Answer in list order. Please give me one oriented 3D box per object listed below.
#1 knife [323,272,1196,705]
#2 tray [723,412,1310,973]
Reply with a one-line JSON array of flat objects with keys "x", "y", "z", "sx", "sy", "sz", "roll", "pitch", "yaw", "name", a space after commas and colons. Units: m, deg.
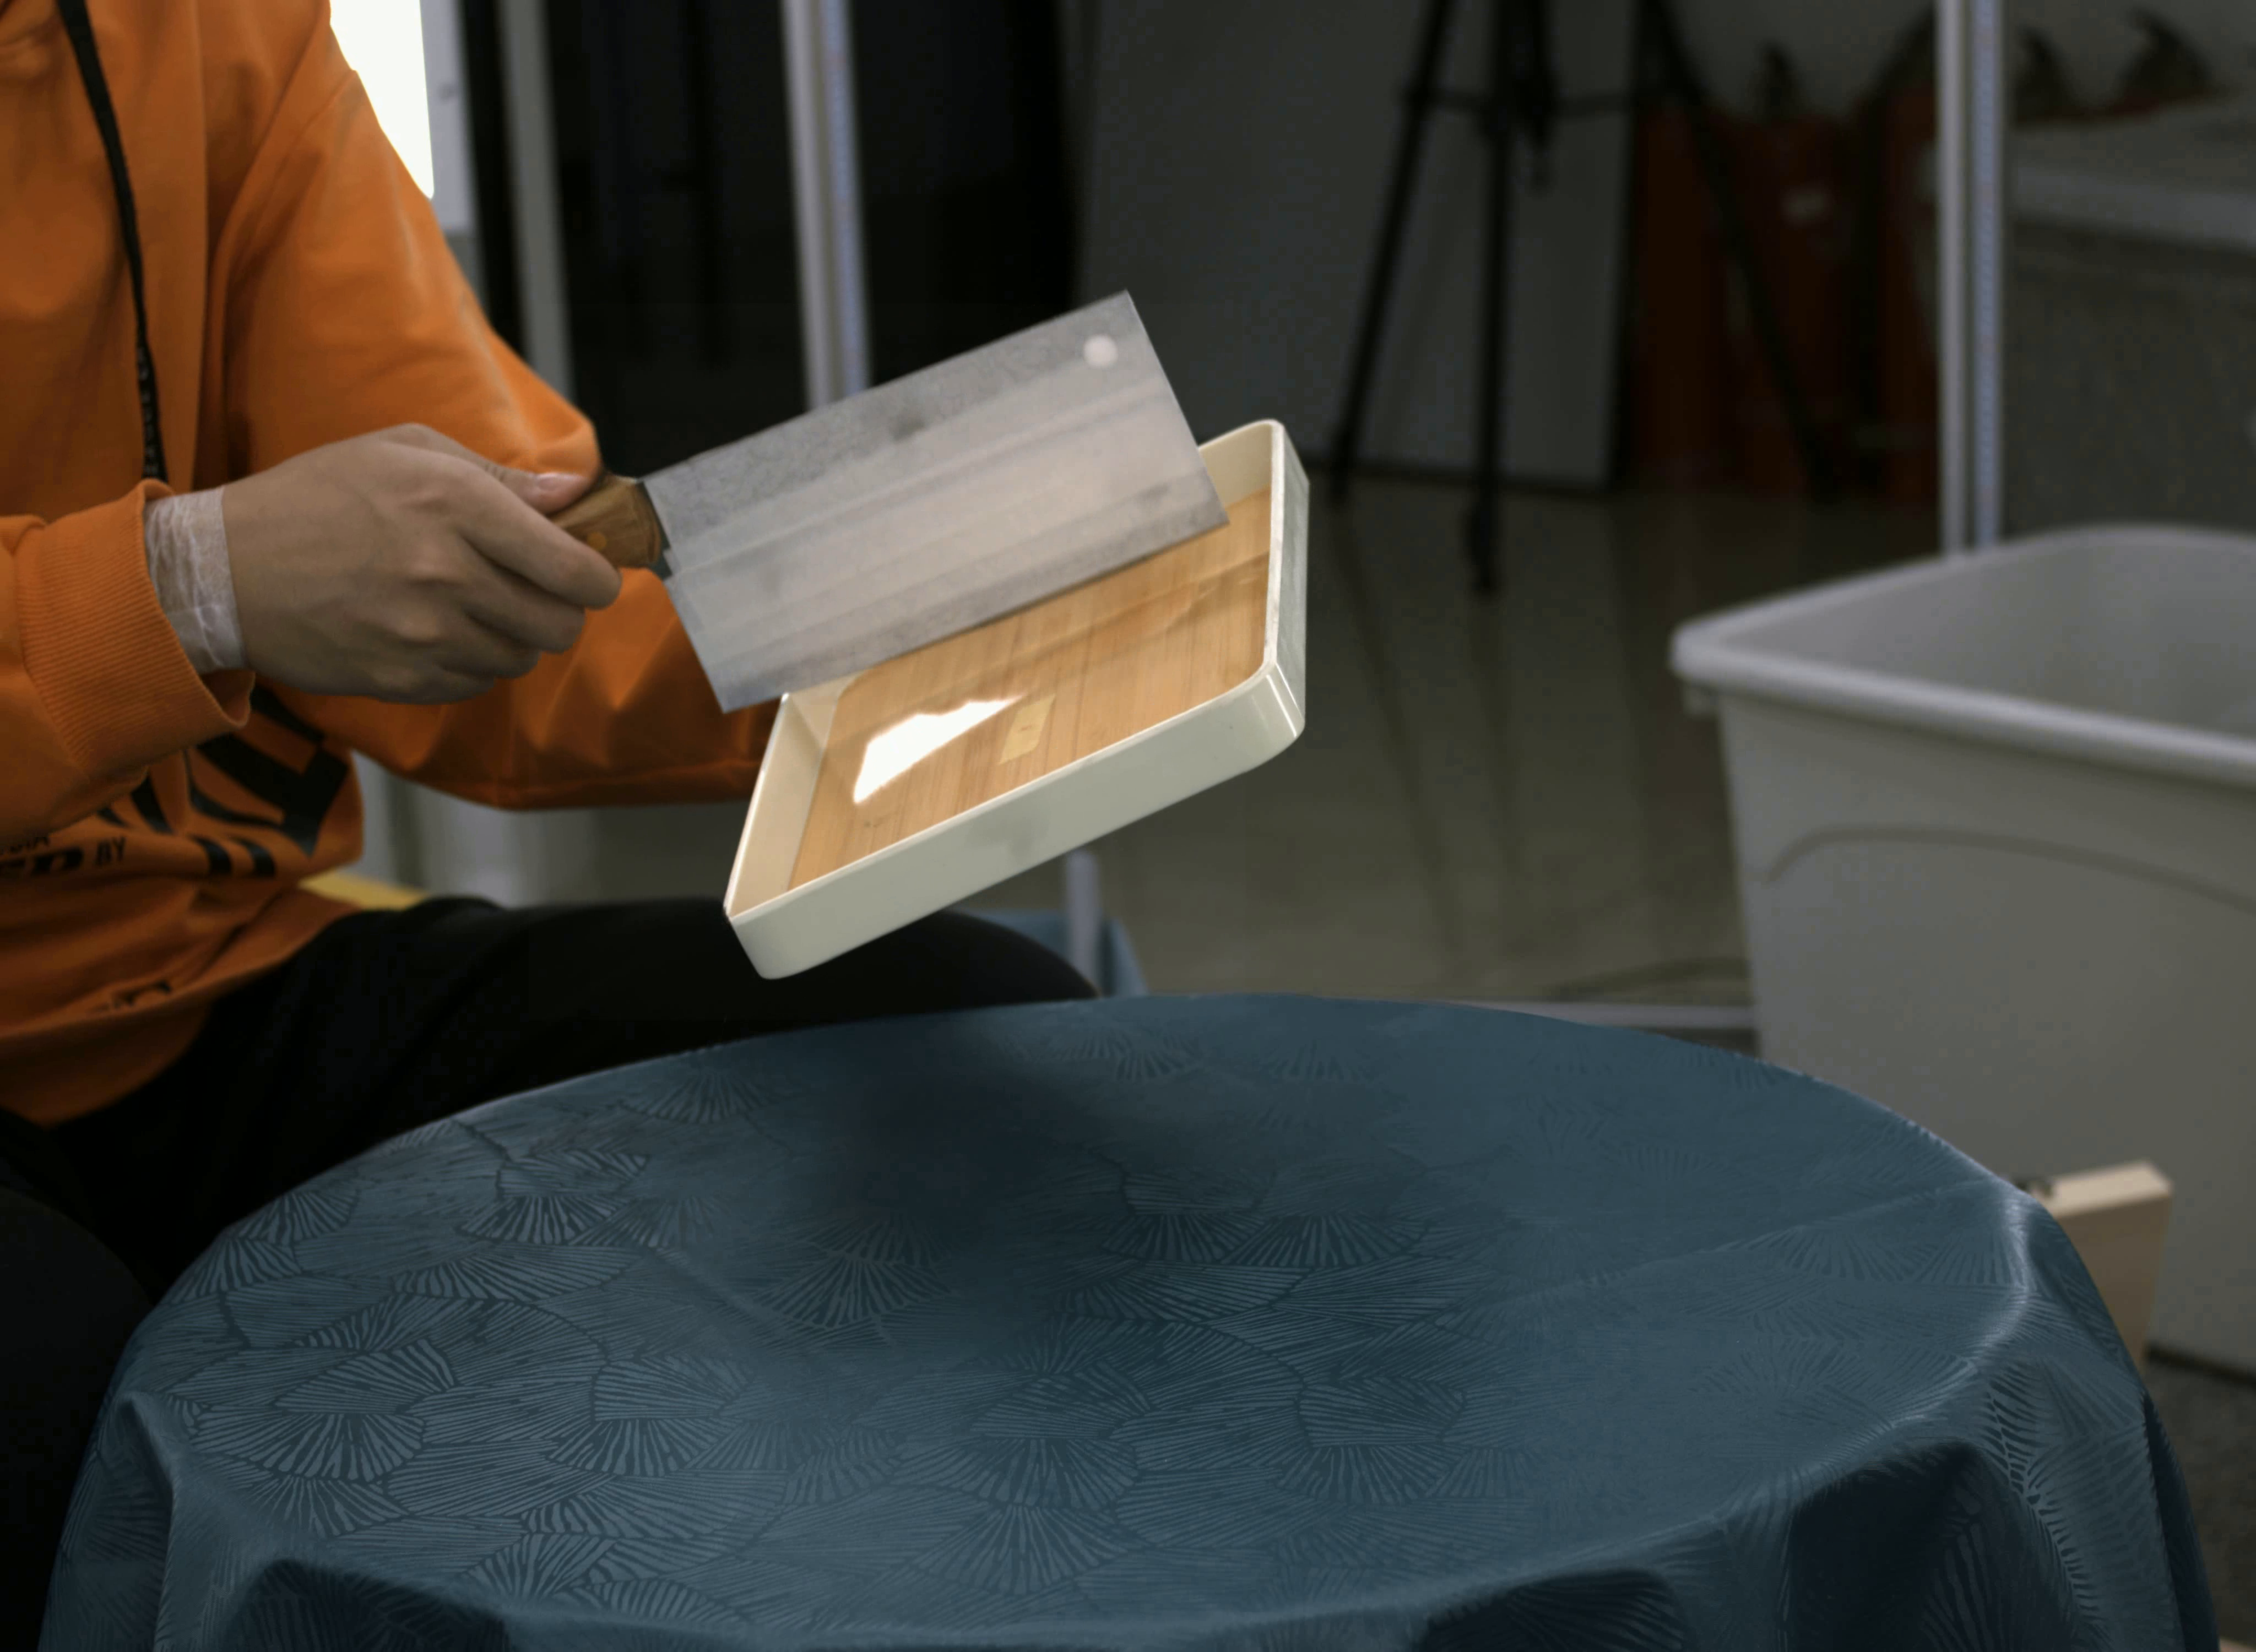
[{"x": -0.122, "y": -0.092, "z": 1.821, "sx": 0.305, "sy": 0.093, "sz": 0.021, "roll": -21, "pitch": 20, "yaw": 15, "name": "knife"}, {"x": -0.030, "y": -0.048, "z": 1.756, "sx": 0.191, "sy": 0.027, "sz": 0.300, "roll": -25, "pitch": 16, "yaw": 11, "name": "tray"}]
